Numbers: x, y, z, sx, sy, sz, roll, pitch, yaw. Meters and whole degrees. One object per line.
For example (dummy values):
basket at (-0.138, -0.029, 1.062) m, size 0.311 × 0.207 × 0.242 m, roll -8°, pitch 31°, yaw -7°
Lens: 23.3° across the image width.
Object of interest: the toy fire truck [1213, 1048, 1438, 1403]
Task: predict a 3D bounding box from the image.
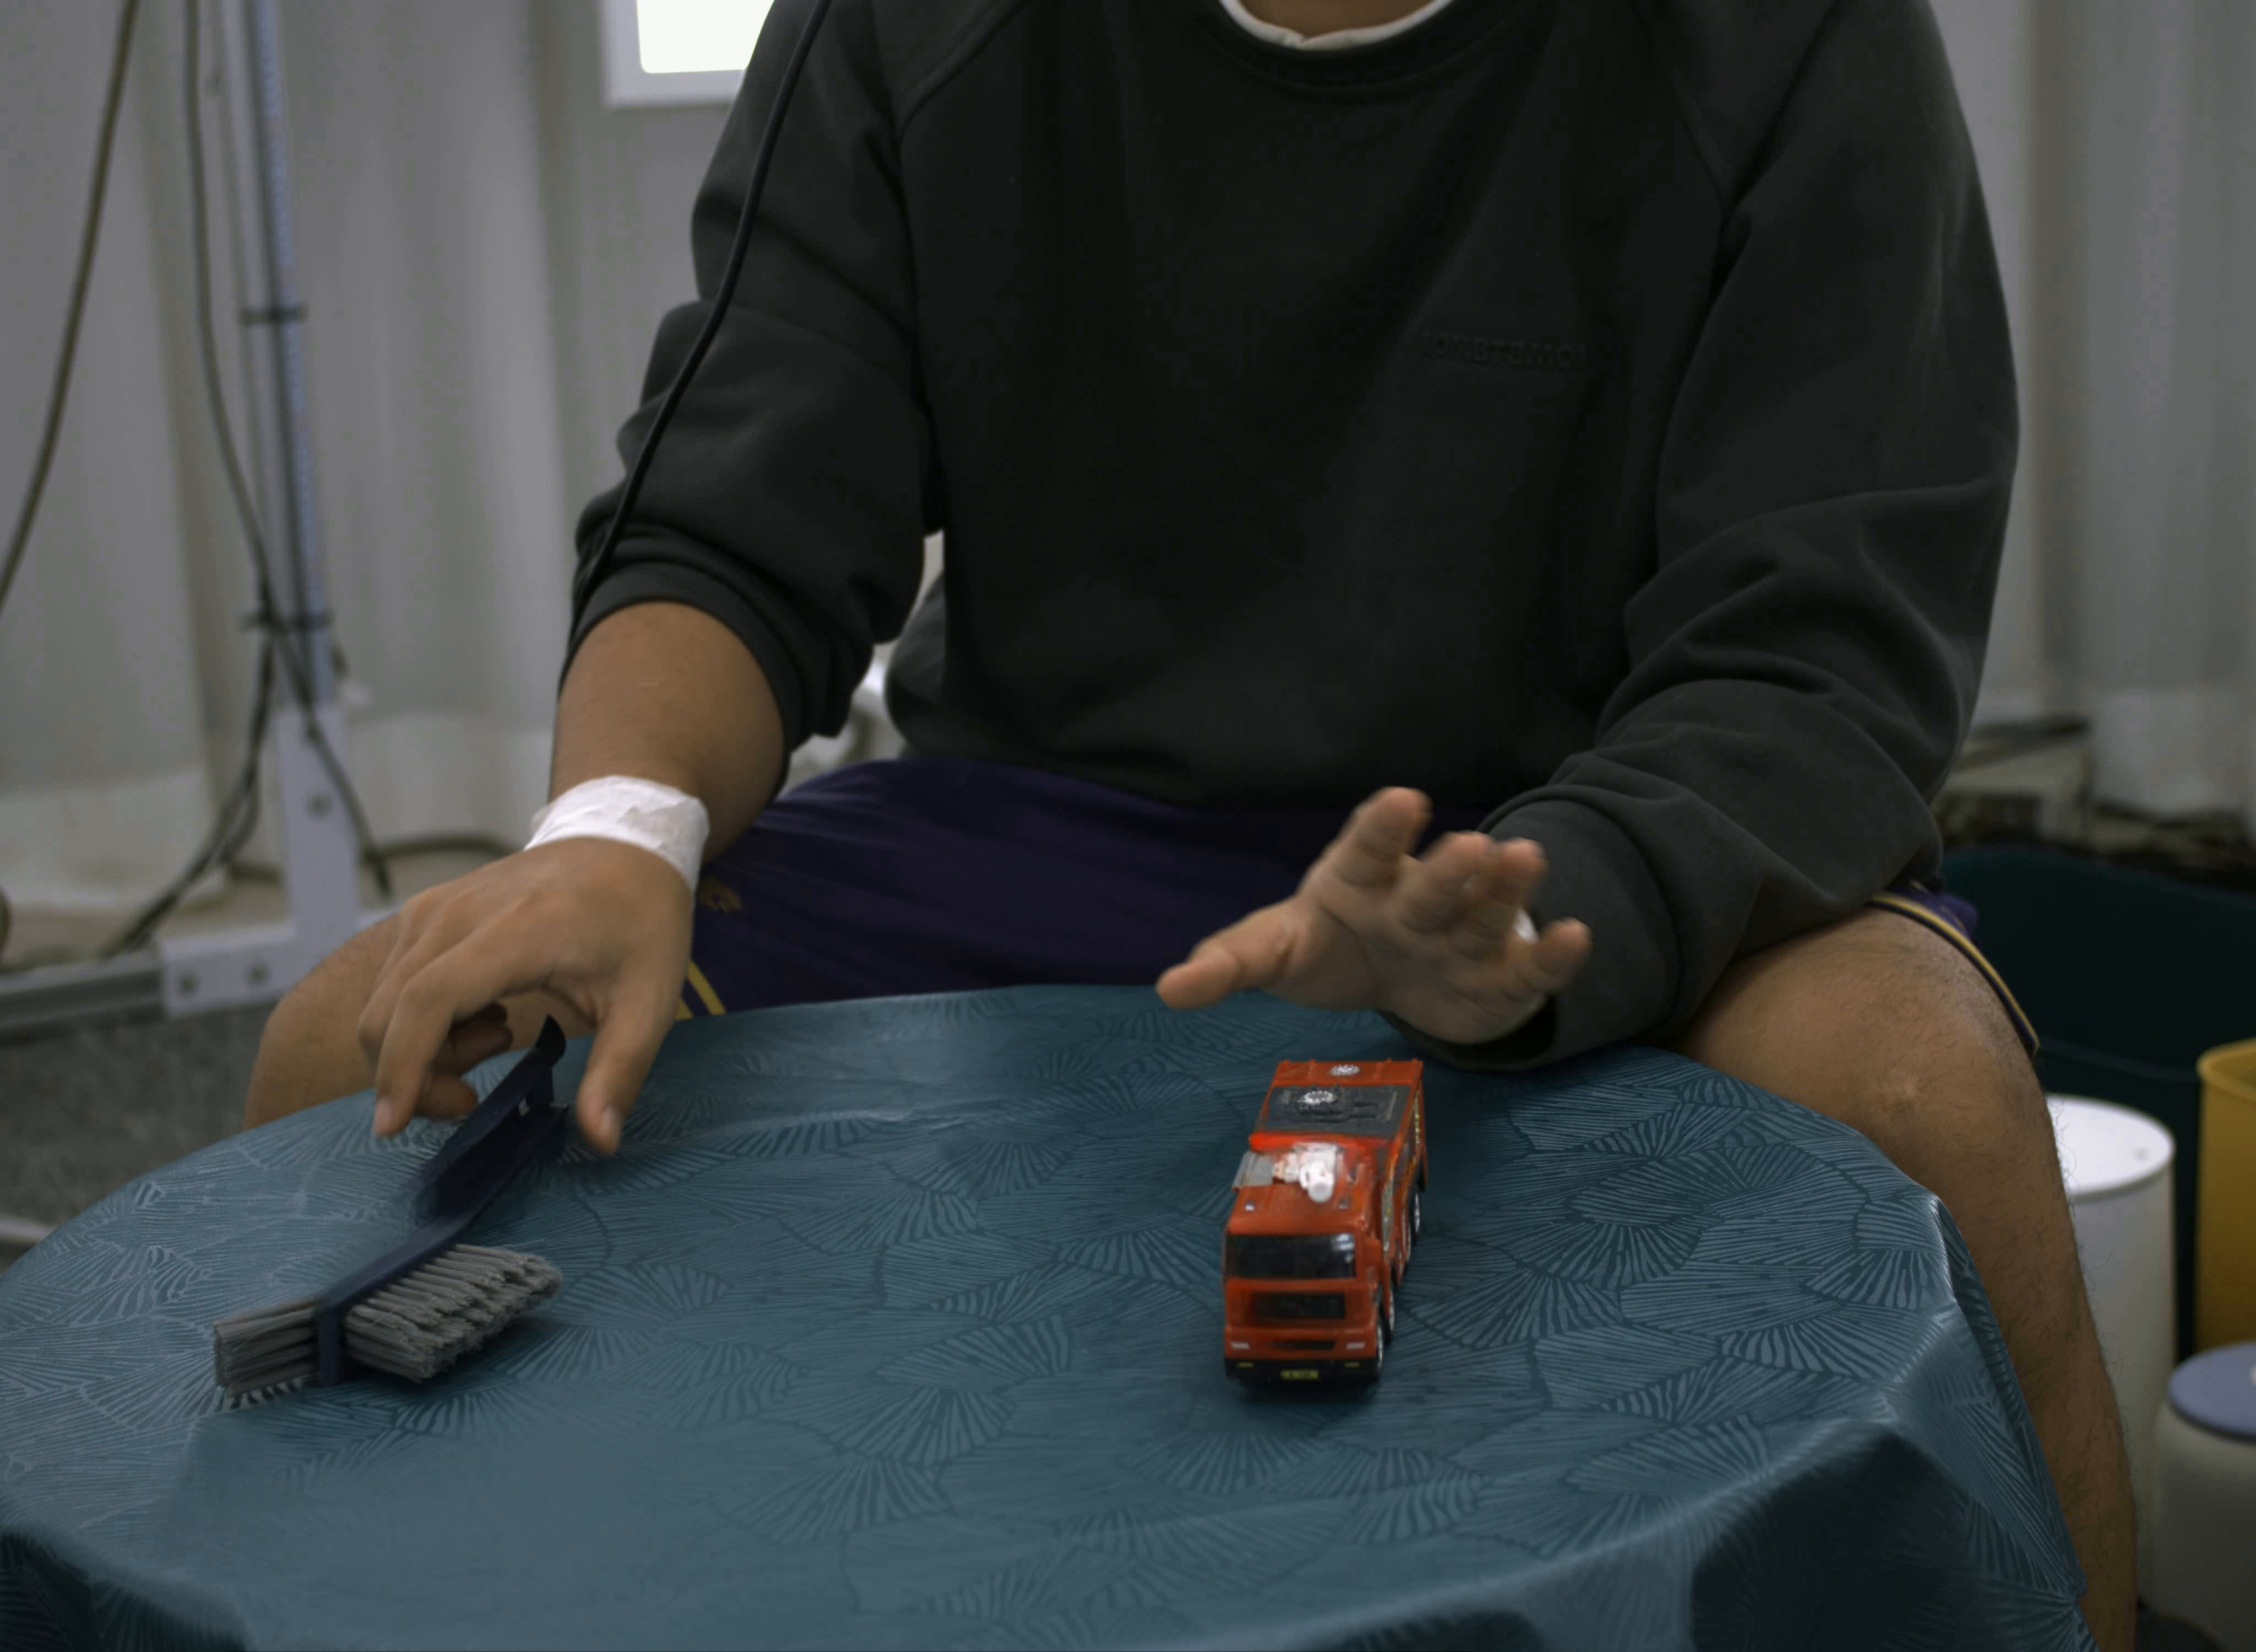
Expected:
toy fire truck at (0.059, 0.114, 1.594) m, size 0.054 × 0.070 × 0.169 m, roll -1°, pitch 14°, yaw 8°

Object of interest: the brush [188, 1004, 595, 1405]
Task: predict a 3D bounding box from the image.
brush at (-0.218, 0.114, 1.697) m, size 0.095 × 0.033 × 0.275 m, roll -2°, pitch 16°, yaw 3°
